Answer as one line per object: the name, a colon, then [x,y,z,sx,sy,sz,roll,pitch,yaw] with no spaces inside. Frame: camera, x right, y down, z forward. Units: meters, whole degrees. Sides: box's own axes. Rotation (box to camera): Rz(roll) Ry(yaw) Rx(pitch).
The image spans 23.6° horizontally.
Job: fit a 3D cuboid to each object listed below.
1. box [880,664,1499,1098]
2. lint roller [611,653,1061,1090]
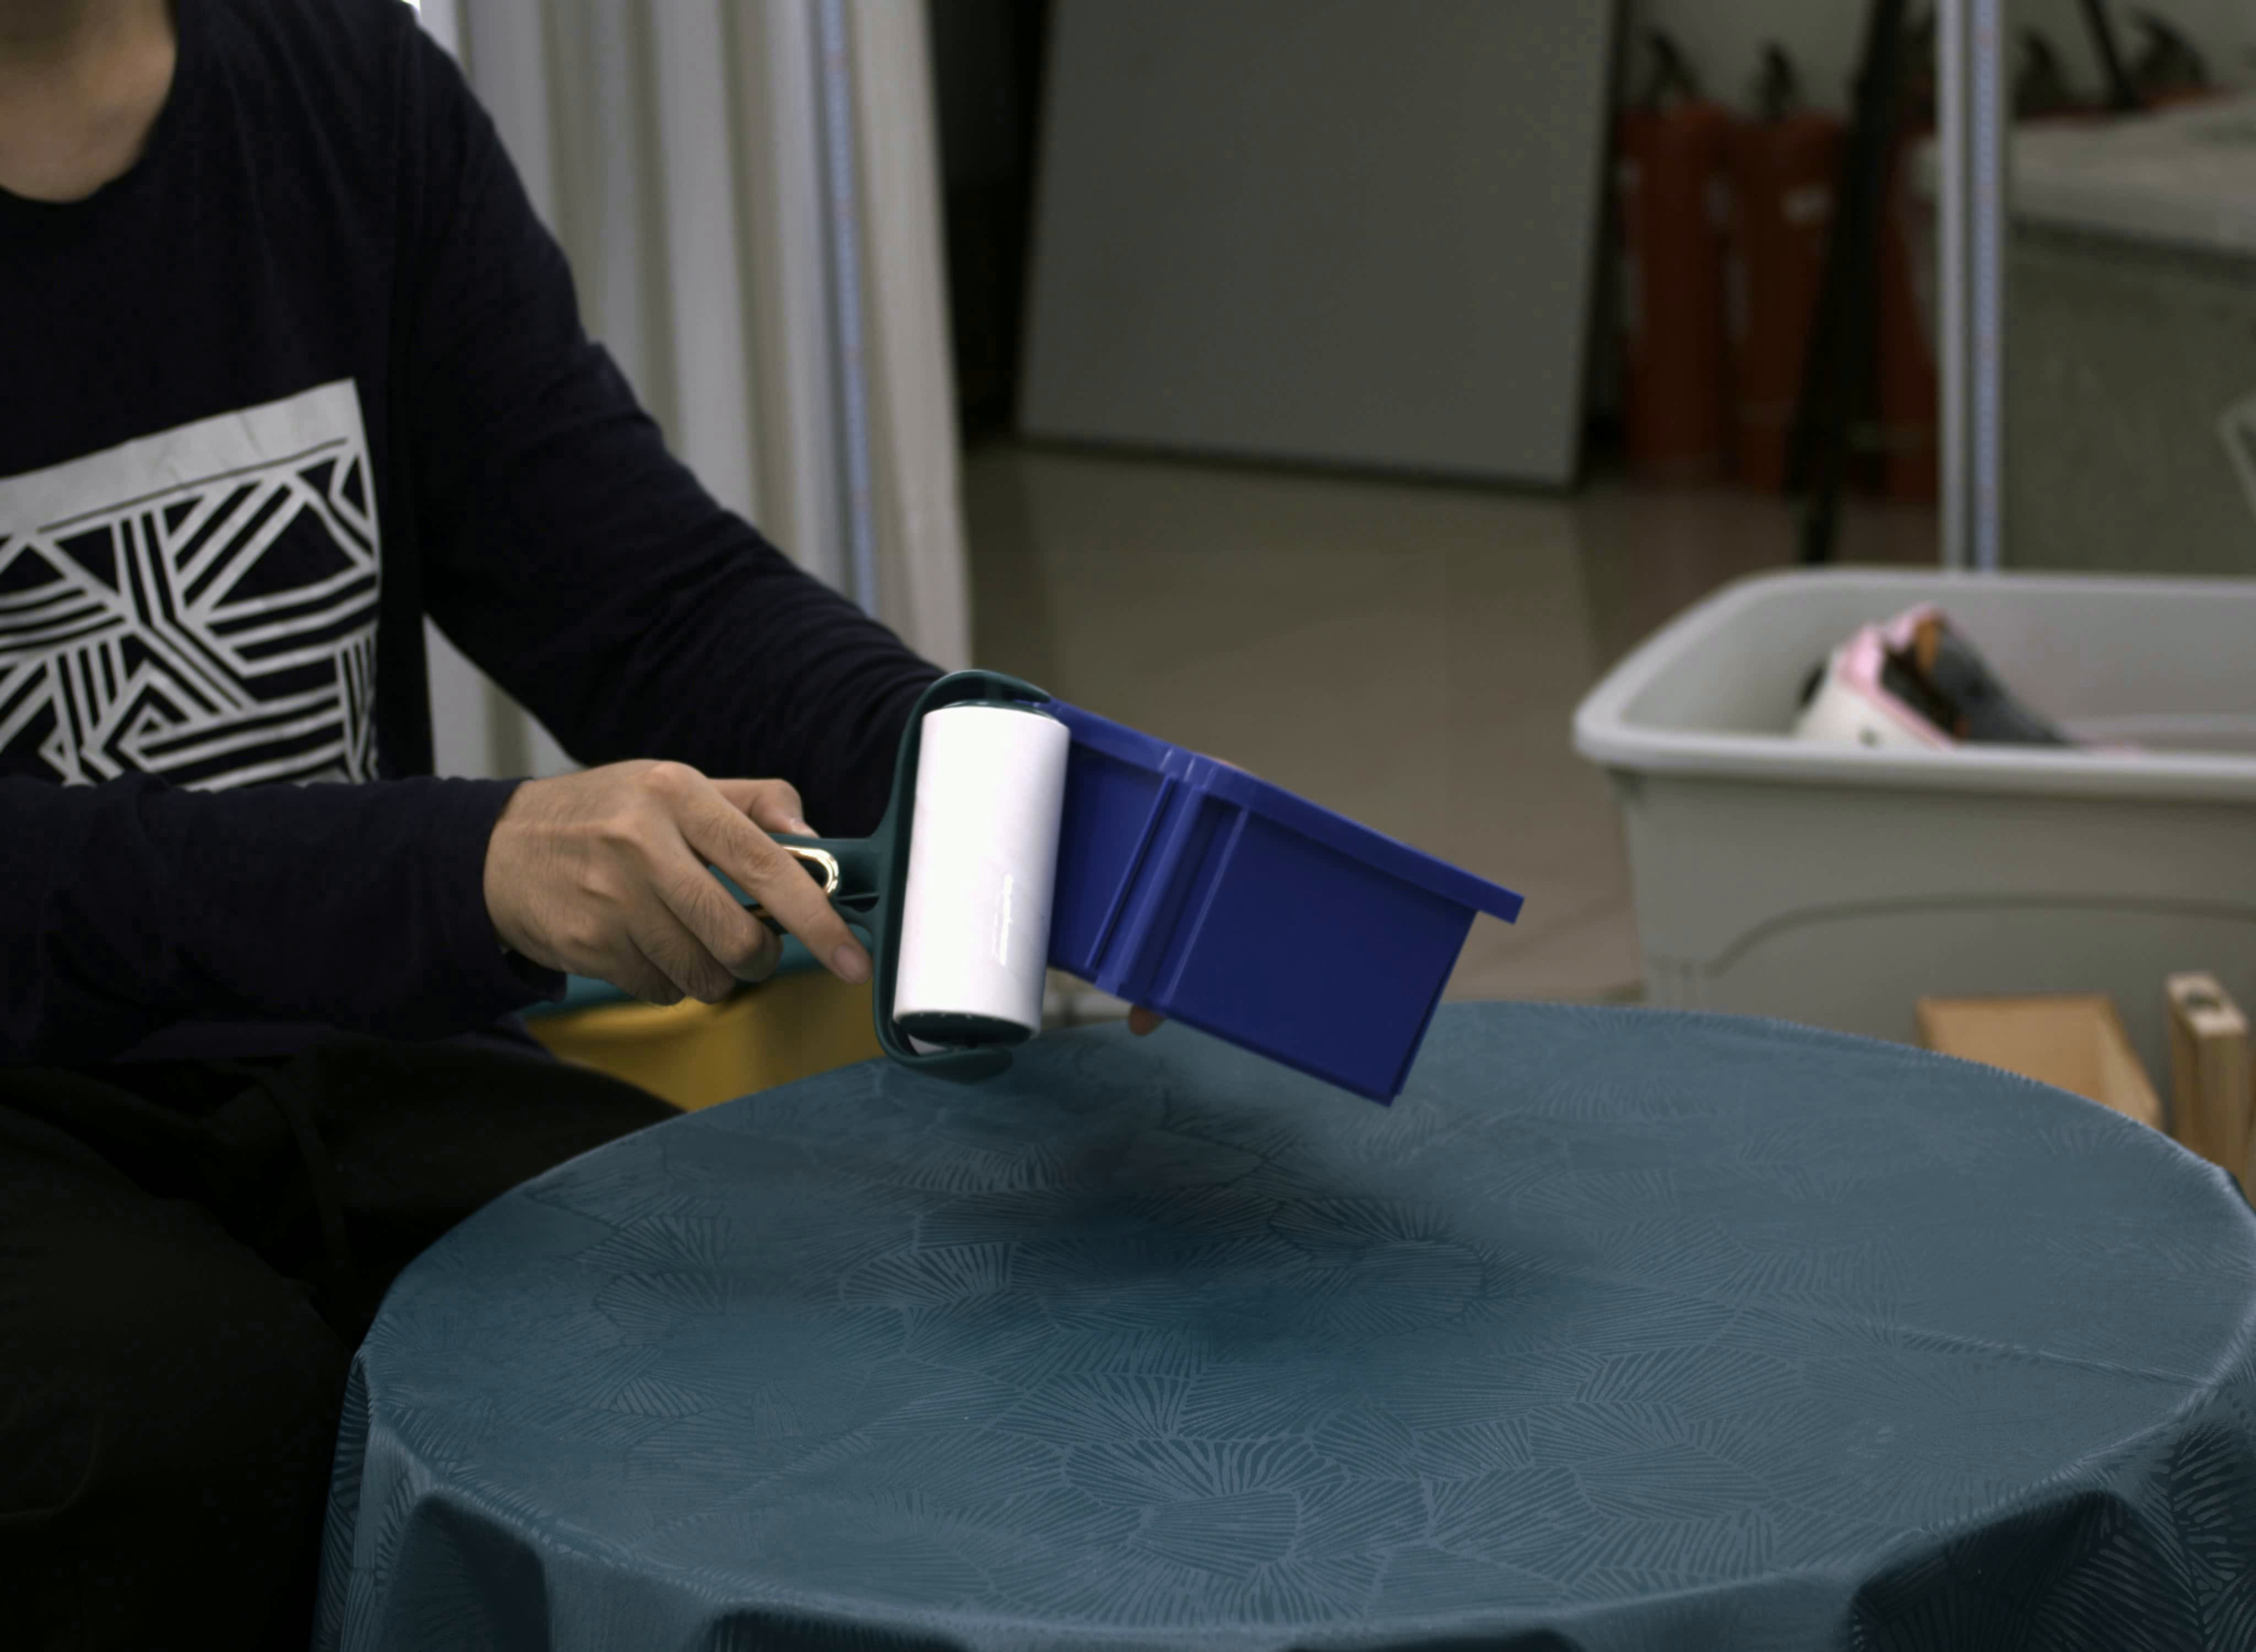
box: [0.013,0.015,1.751,0.122,0.082,0.181,23,2,-32]
lint roller: [-0.104,0.019,1.741,0.181,0.136,0.047,-3,-15,31]
